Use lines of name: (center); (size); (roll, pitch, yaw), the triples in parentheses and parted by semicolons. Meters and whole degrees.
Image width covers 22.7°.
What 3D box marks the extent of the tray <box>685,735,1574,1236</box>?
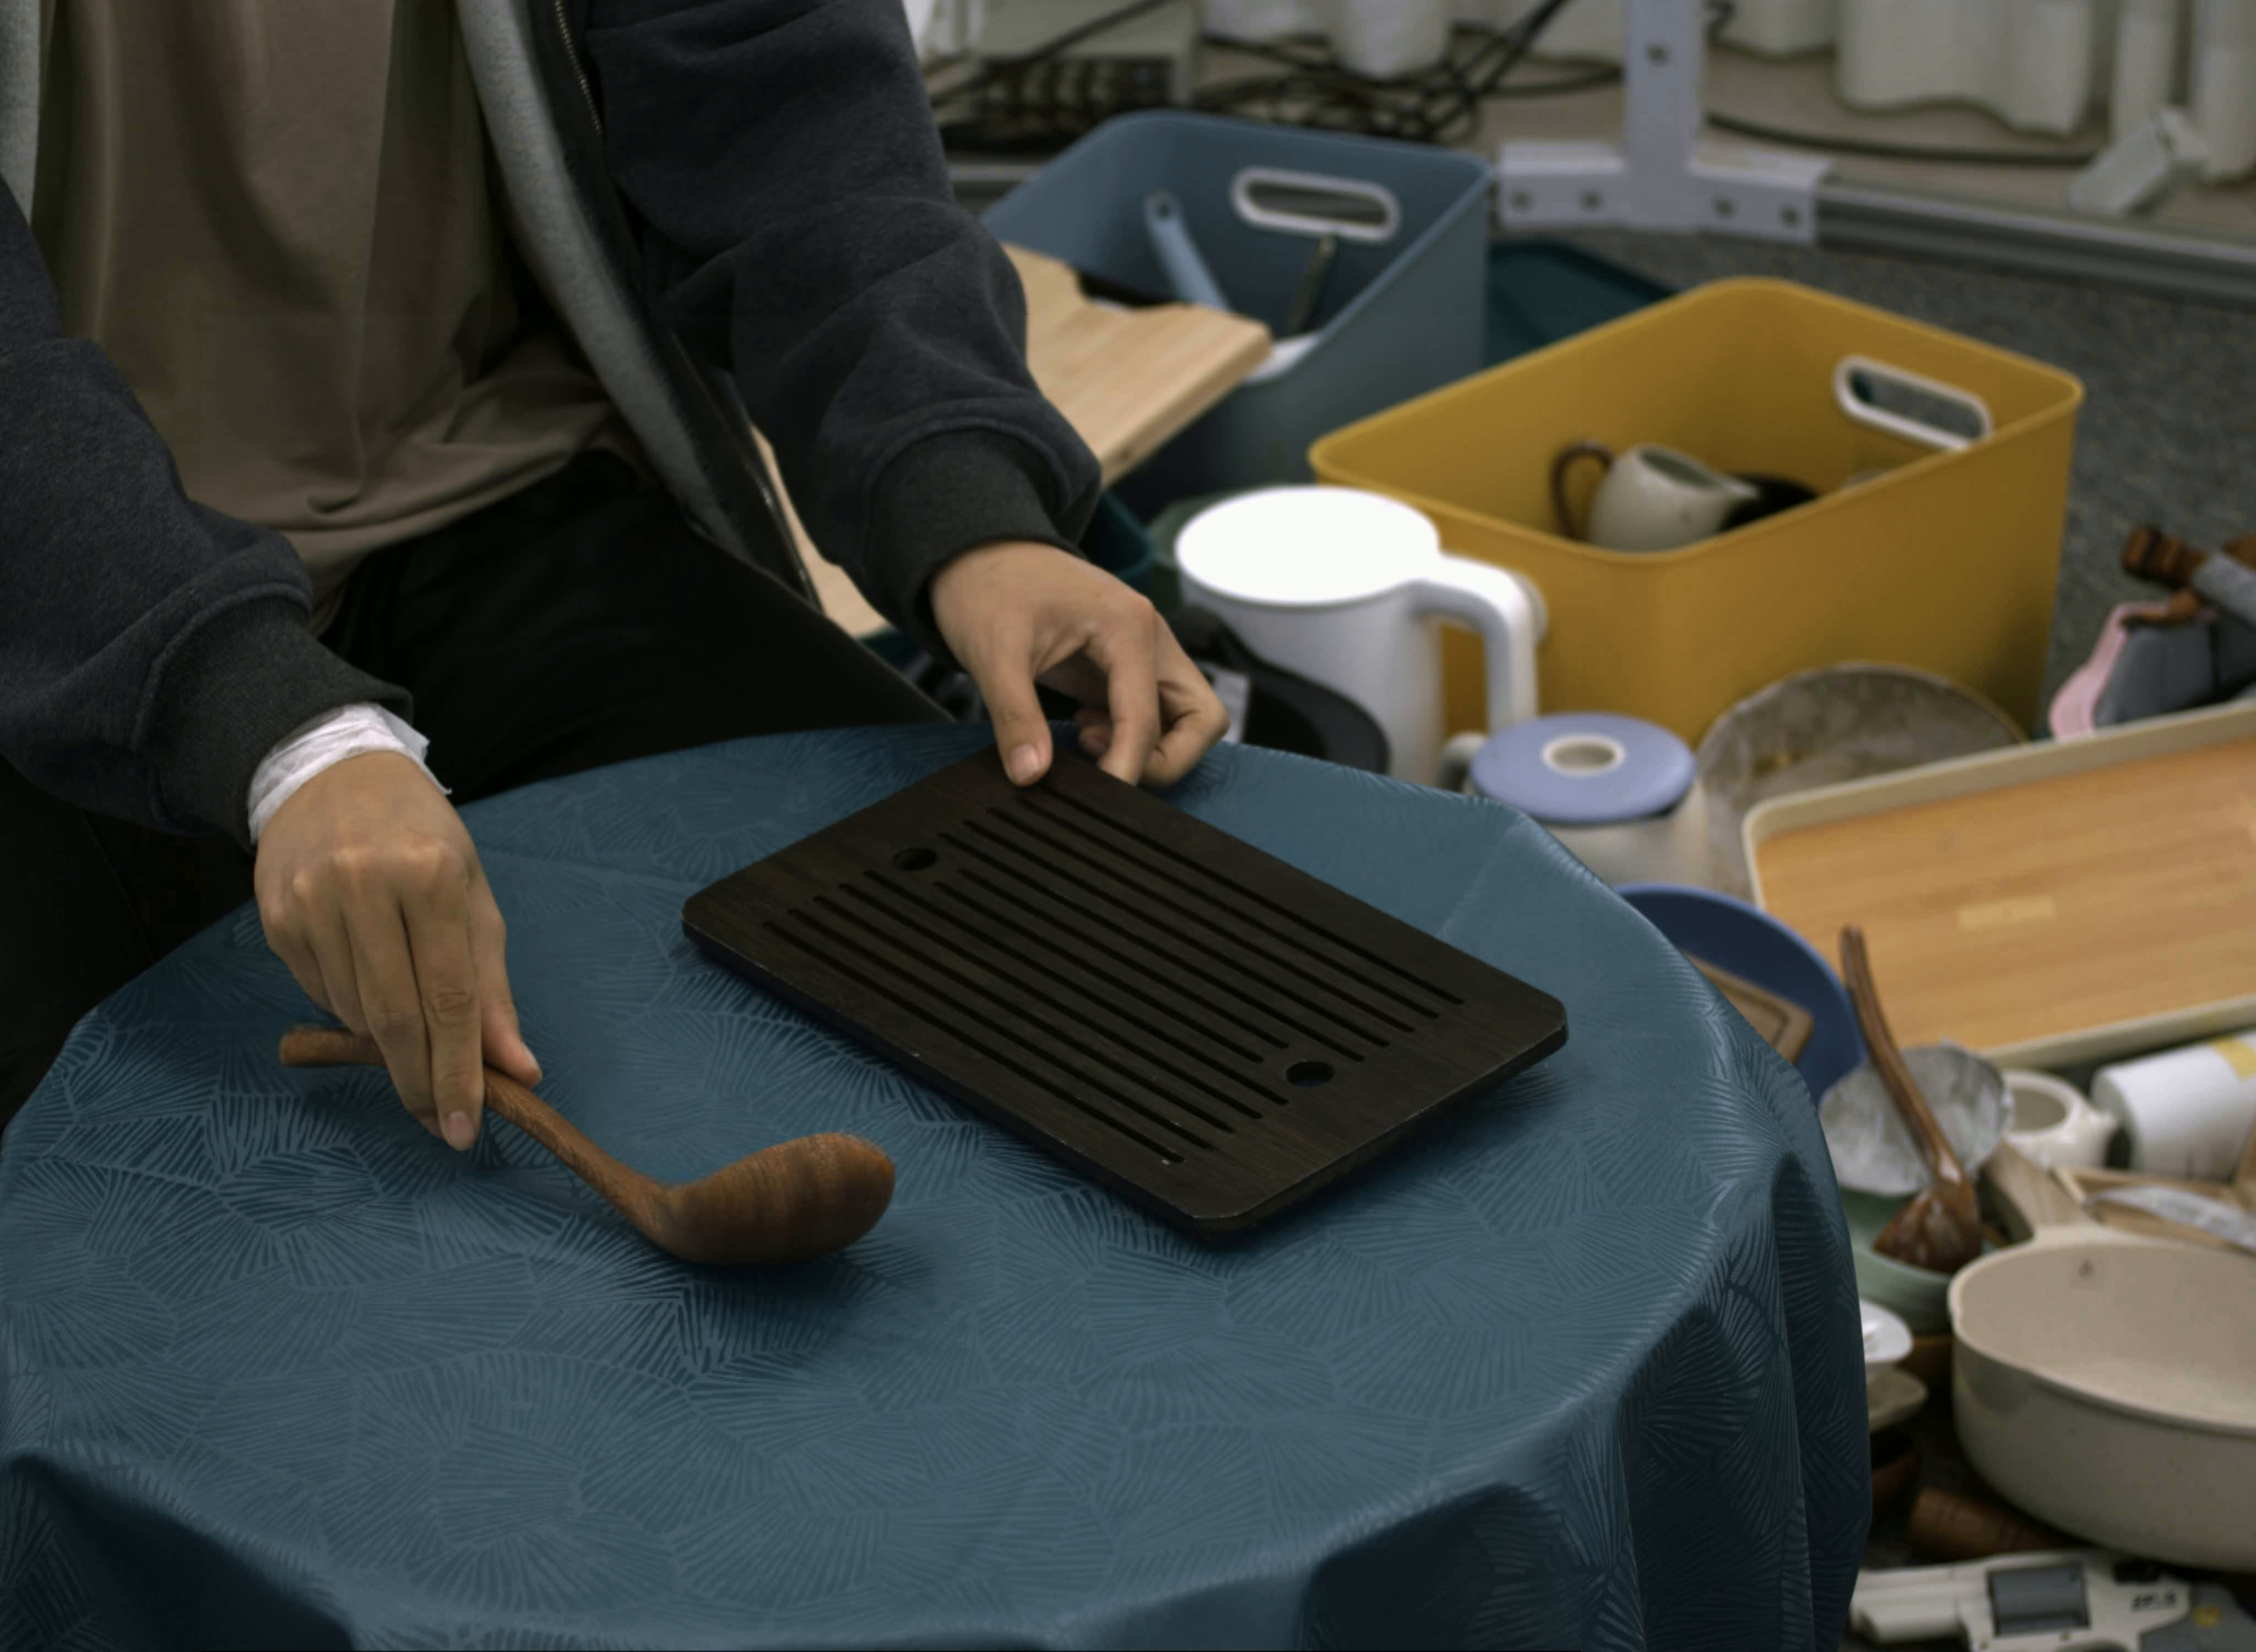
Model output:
tray: (-0.004, 0.052, 1.966); (0.172, 0.018, 0.306); (-27, 35, -31)

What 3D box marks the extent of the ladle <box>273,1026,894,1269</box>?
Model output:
ladle: (-0.186, 0.091, 1.867); (0.259, 0.065, 0.076); (22, 3, 36)
